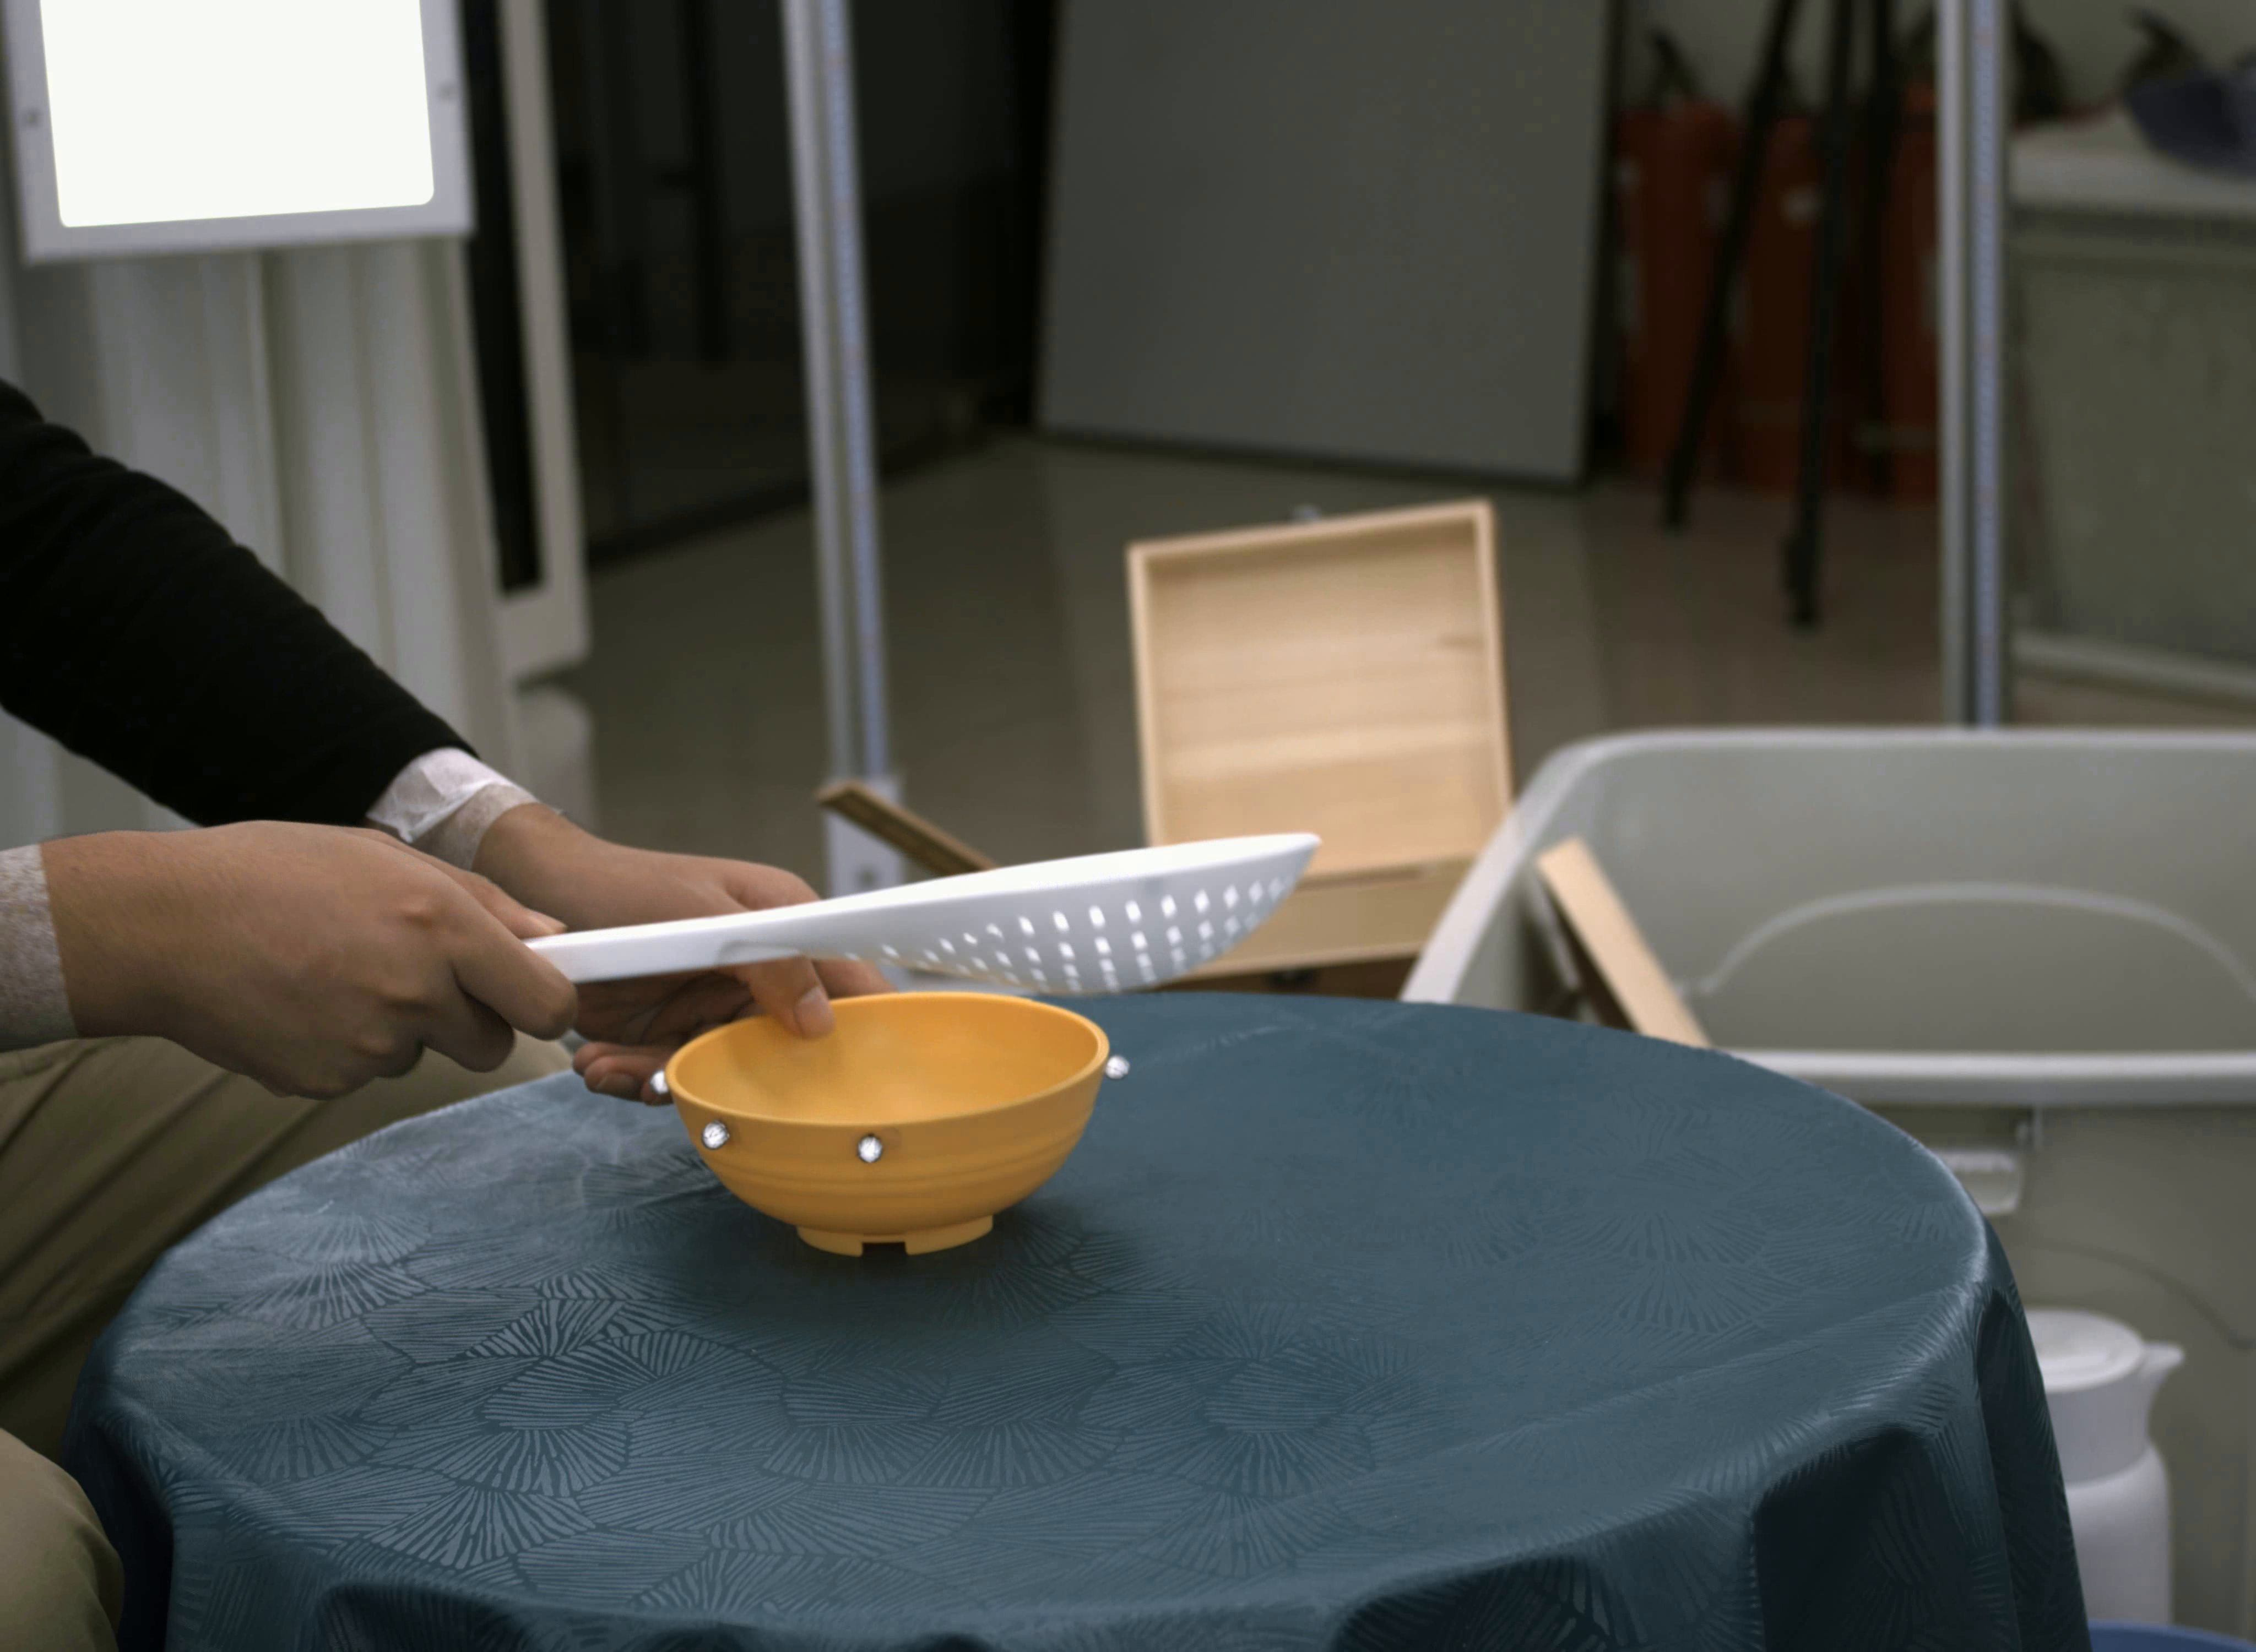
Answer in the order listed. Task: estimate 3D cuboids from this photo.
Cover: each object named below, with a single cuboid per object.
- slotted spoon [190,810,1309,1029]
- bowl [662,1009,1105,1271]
[{"bbox_3d":[-0.115,0.029,1.656,0.346,0.046,0.136,-4,1,3],"label":"slotted spoon"},{"bbox_3d":[-0.078,0.106,1.745,0.143,0.061,0.145,-3,12,0],"label":"bowl"}]
